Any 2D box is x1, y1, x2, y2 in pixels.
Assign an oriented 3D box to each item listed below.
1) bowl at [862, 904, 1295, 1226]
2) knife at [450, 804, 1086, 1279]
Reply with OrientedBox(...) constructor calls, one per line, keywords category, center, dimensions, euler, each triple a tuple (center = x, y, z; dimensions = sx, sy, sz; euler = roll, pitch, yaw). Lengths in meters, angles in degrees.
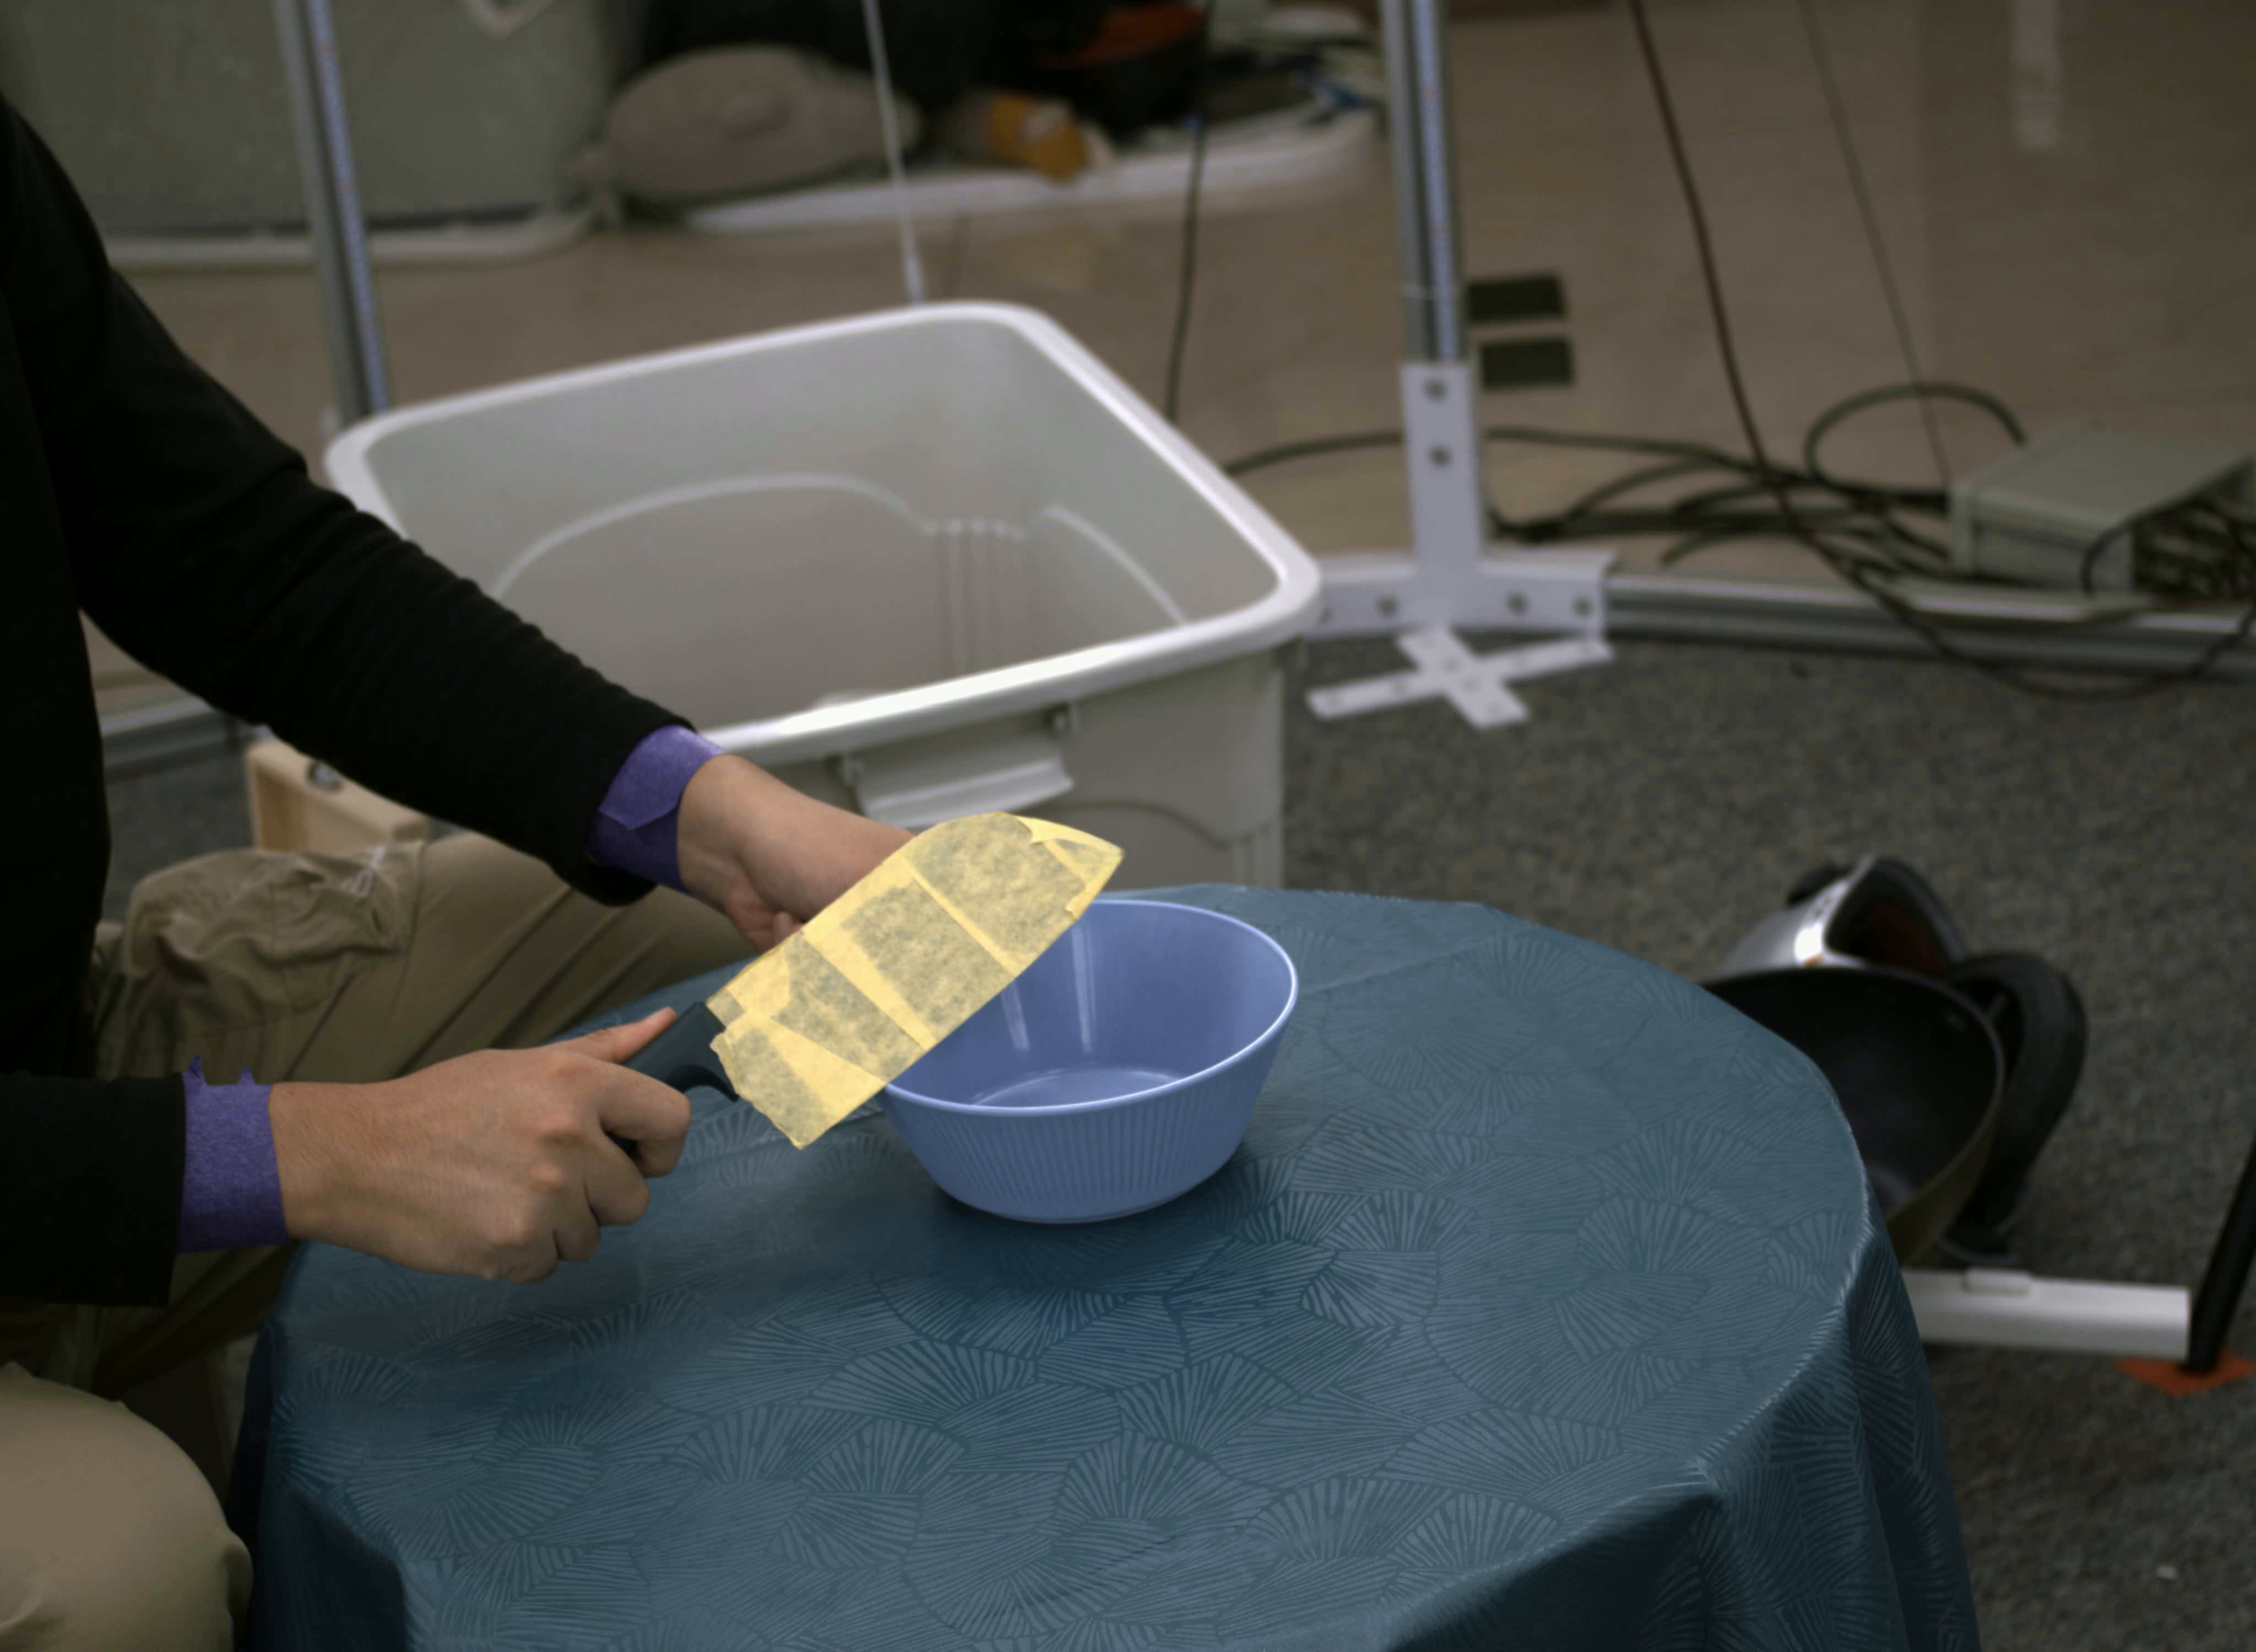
OrientedBox(category="bowl", center=(-0.020, 0.097, 2.163), dimensions=(0.176, 0.071, 0.173), euler=(-5, 26, 3))
OrientedBox(category="knife", center=(-0.129, 0.082, 2.115), dimensions=(0.288, 0.027, 0.080), euler=(-37, 63, -14))
